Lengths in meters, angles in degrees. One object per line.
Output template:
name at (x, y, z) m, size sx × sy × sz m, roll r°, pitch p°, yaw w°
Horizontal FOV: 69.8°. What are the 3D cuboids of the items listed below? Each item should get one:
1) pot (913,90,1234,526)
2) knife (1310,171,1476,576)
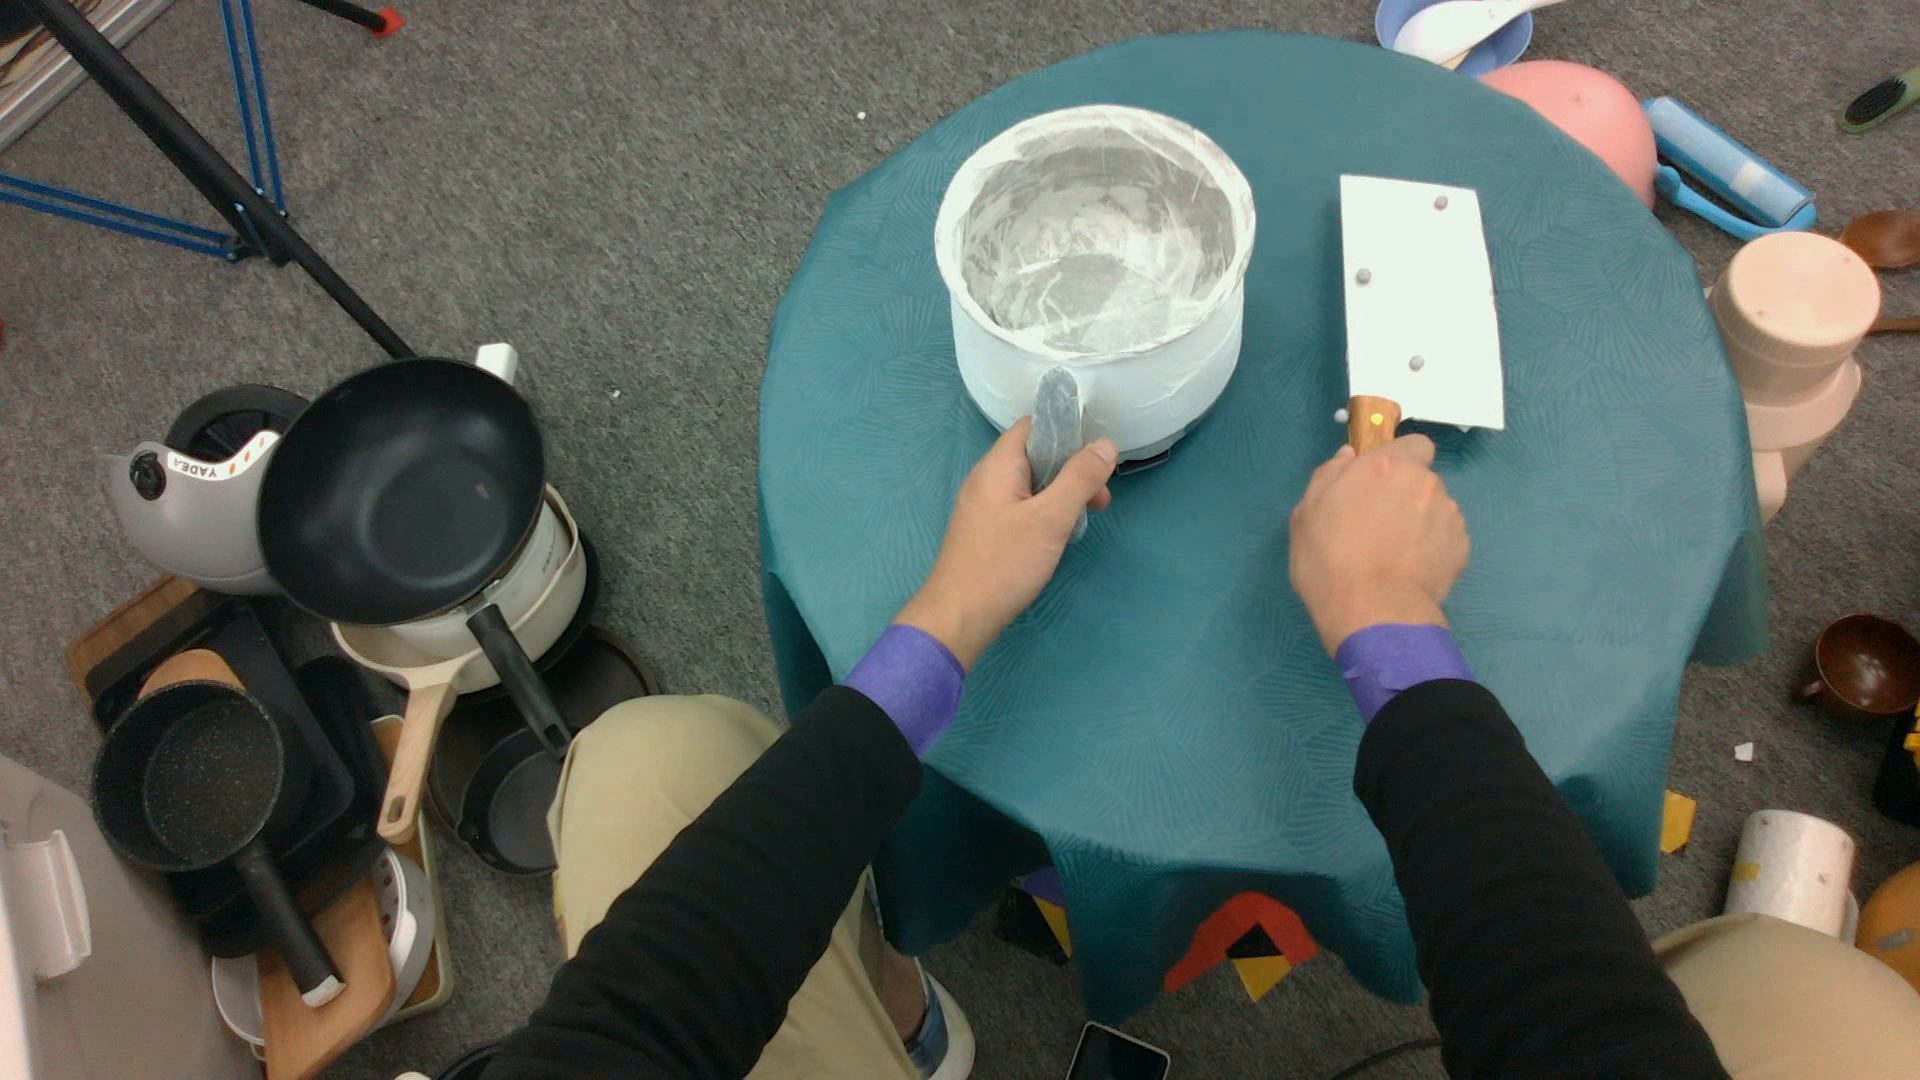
pot at (0.064, -0.131, 0.805) m, size 0.178 × 0.136 × 0.234 m, roll 6°, pitch 63°, yaw 10°
knife at (0.260, -0.111, 0.825) m, size 0.093 × 0.021 × 0.307 m, roll 5°, pitch 59°, yaw 1°
